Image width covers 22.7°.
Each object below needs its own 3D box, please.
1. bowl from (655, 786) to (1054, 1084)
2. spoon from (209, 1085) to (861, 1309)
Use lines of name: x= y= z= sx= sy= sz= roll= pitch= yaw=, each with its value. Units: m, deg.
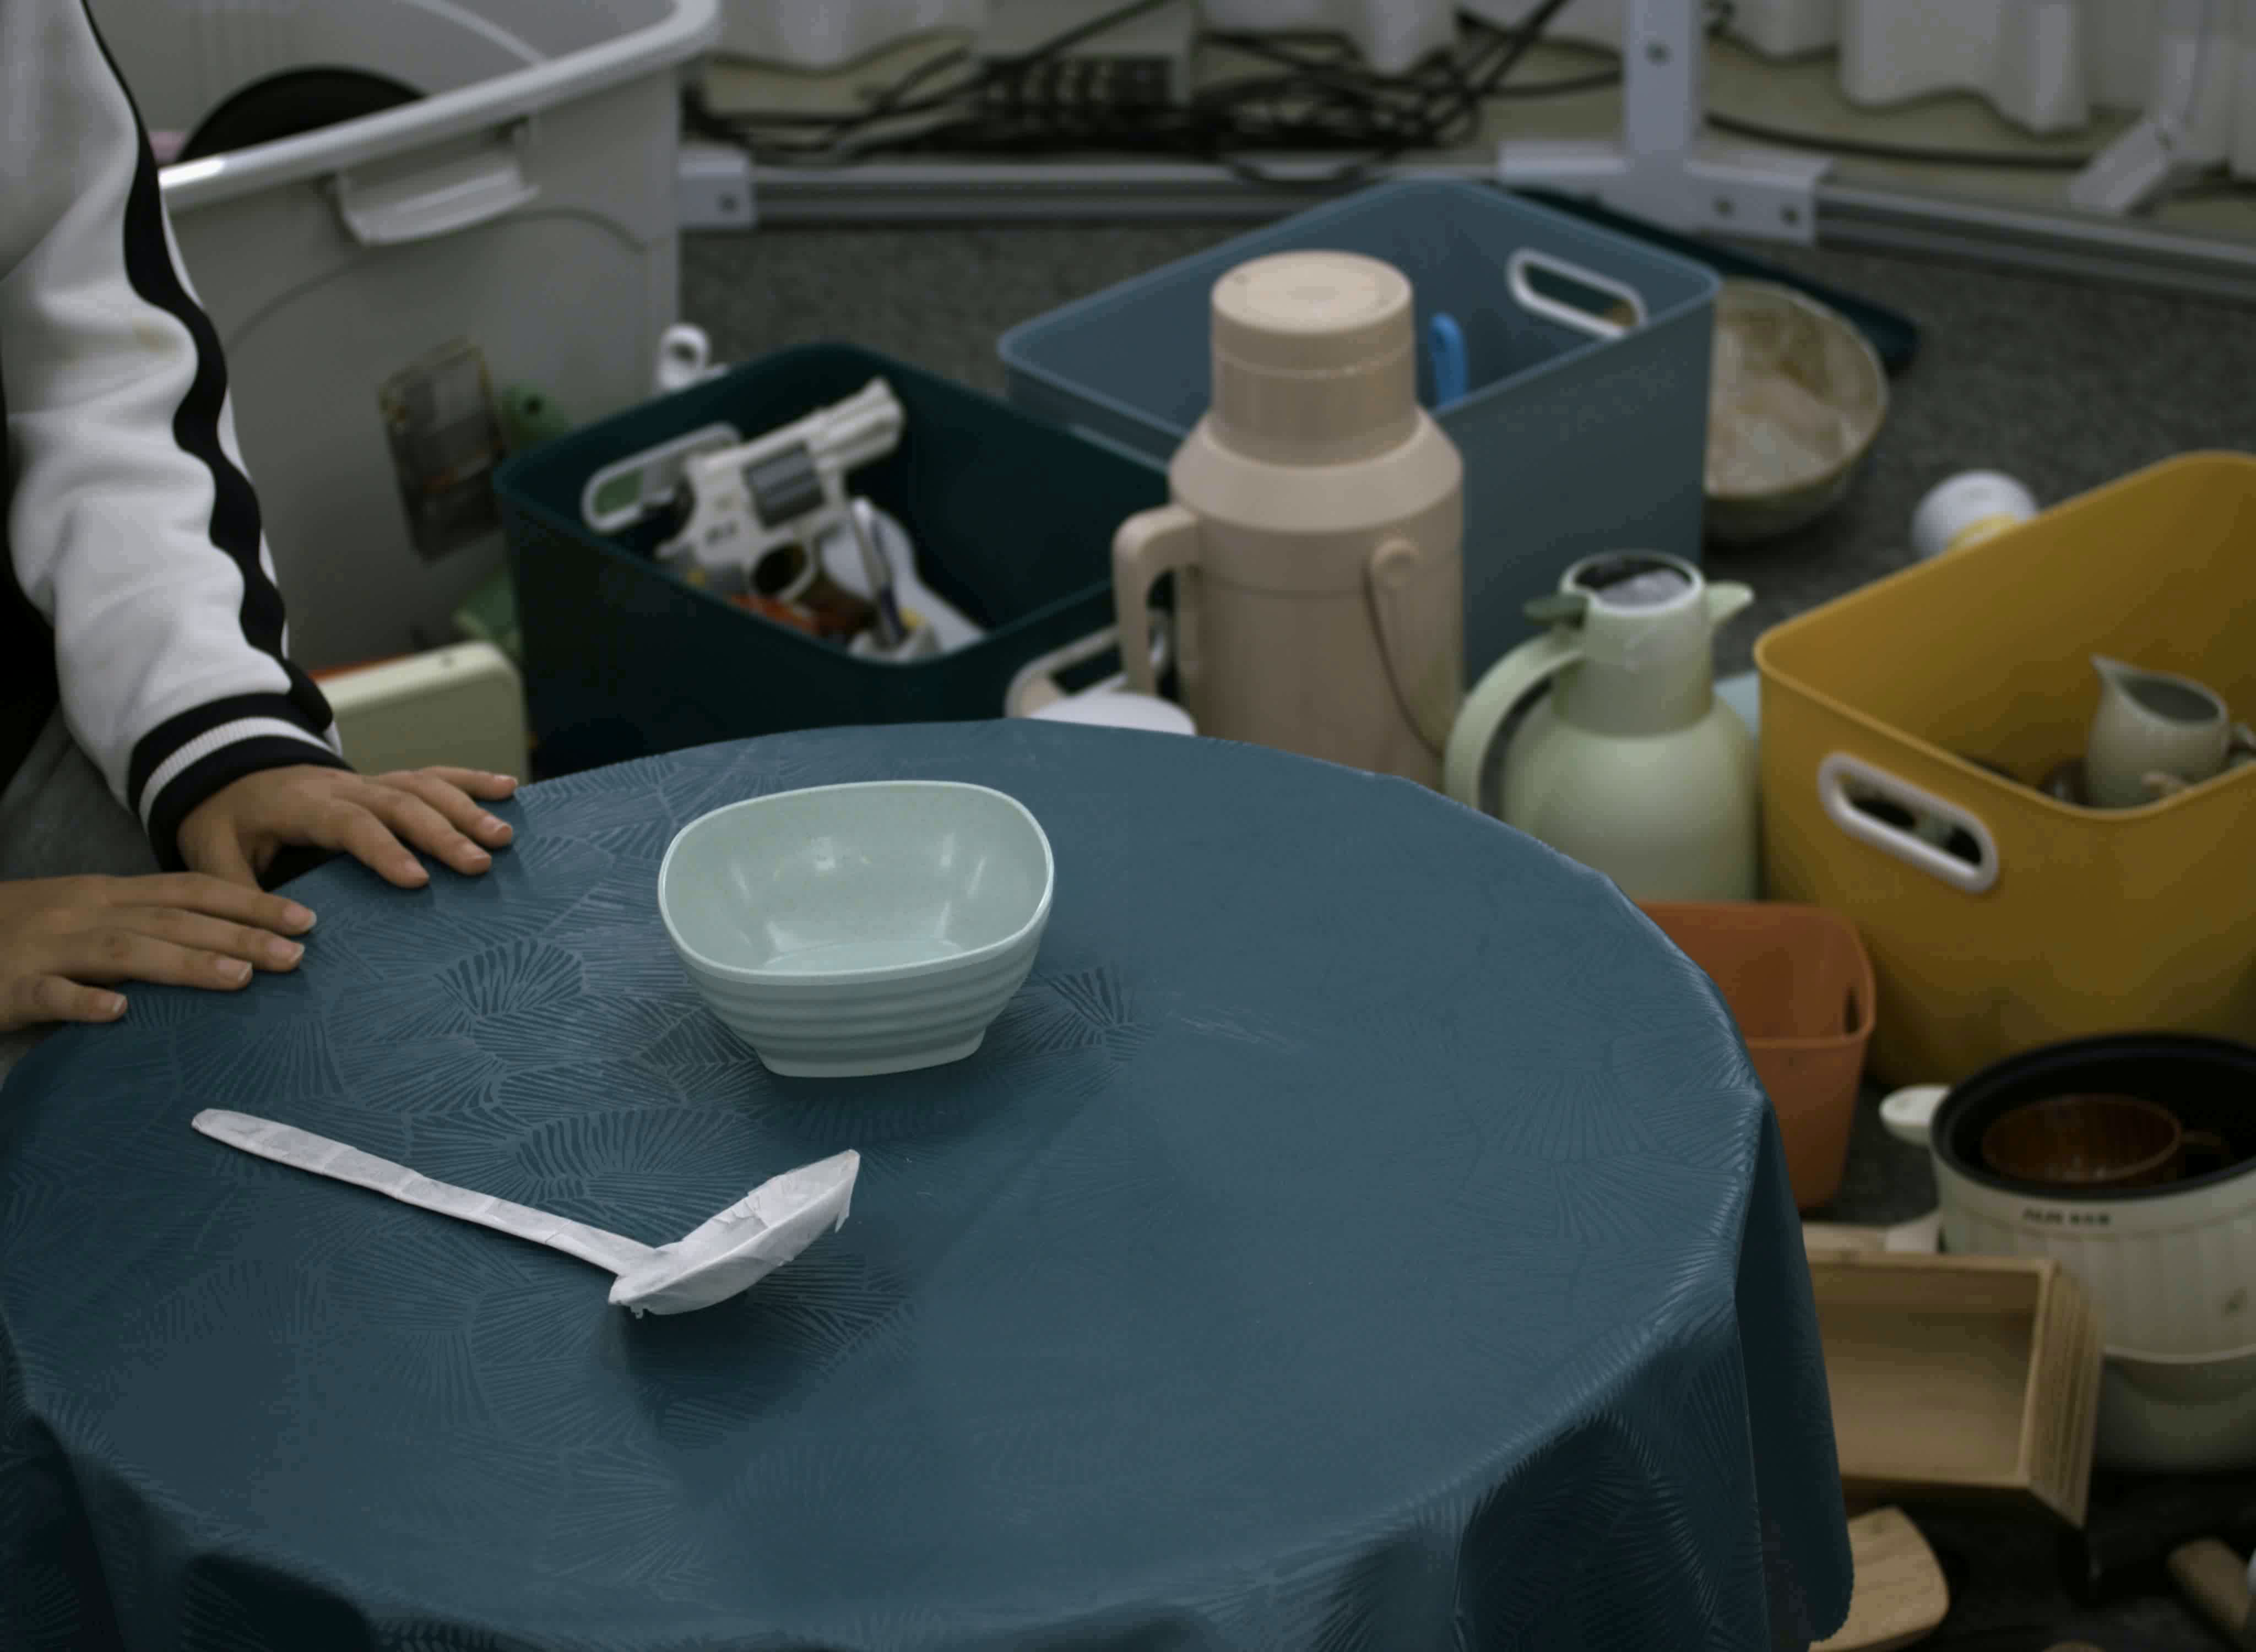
bowl: x=-0.094 y=0.044 z=1.963 sx=0.151 sy=0.058 sz=0.154 roll=-2 pitch=28 yaw=1
spoon: x=-0.203 y=0.103 z=1.855 sx=0.276 sy=0.059 sz=0.102 roll=17 pitch=29 yaw=34
